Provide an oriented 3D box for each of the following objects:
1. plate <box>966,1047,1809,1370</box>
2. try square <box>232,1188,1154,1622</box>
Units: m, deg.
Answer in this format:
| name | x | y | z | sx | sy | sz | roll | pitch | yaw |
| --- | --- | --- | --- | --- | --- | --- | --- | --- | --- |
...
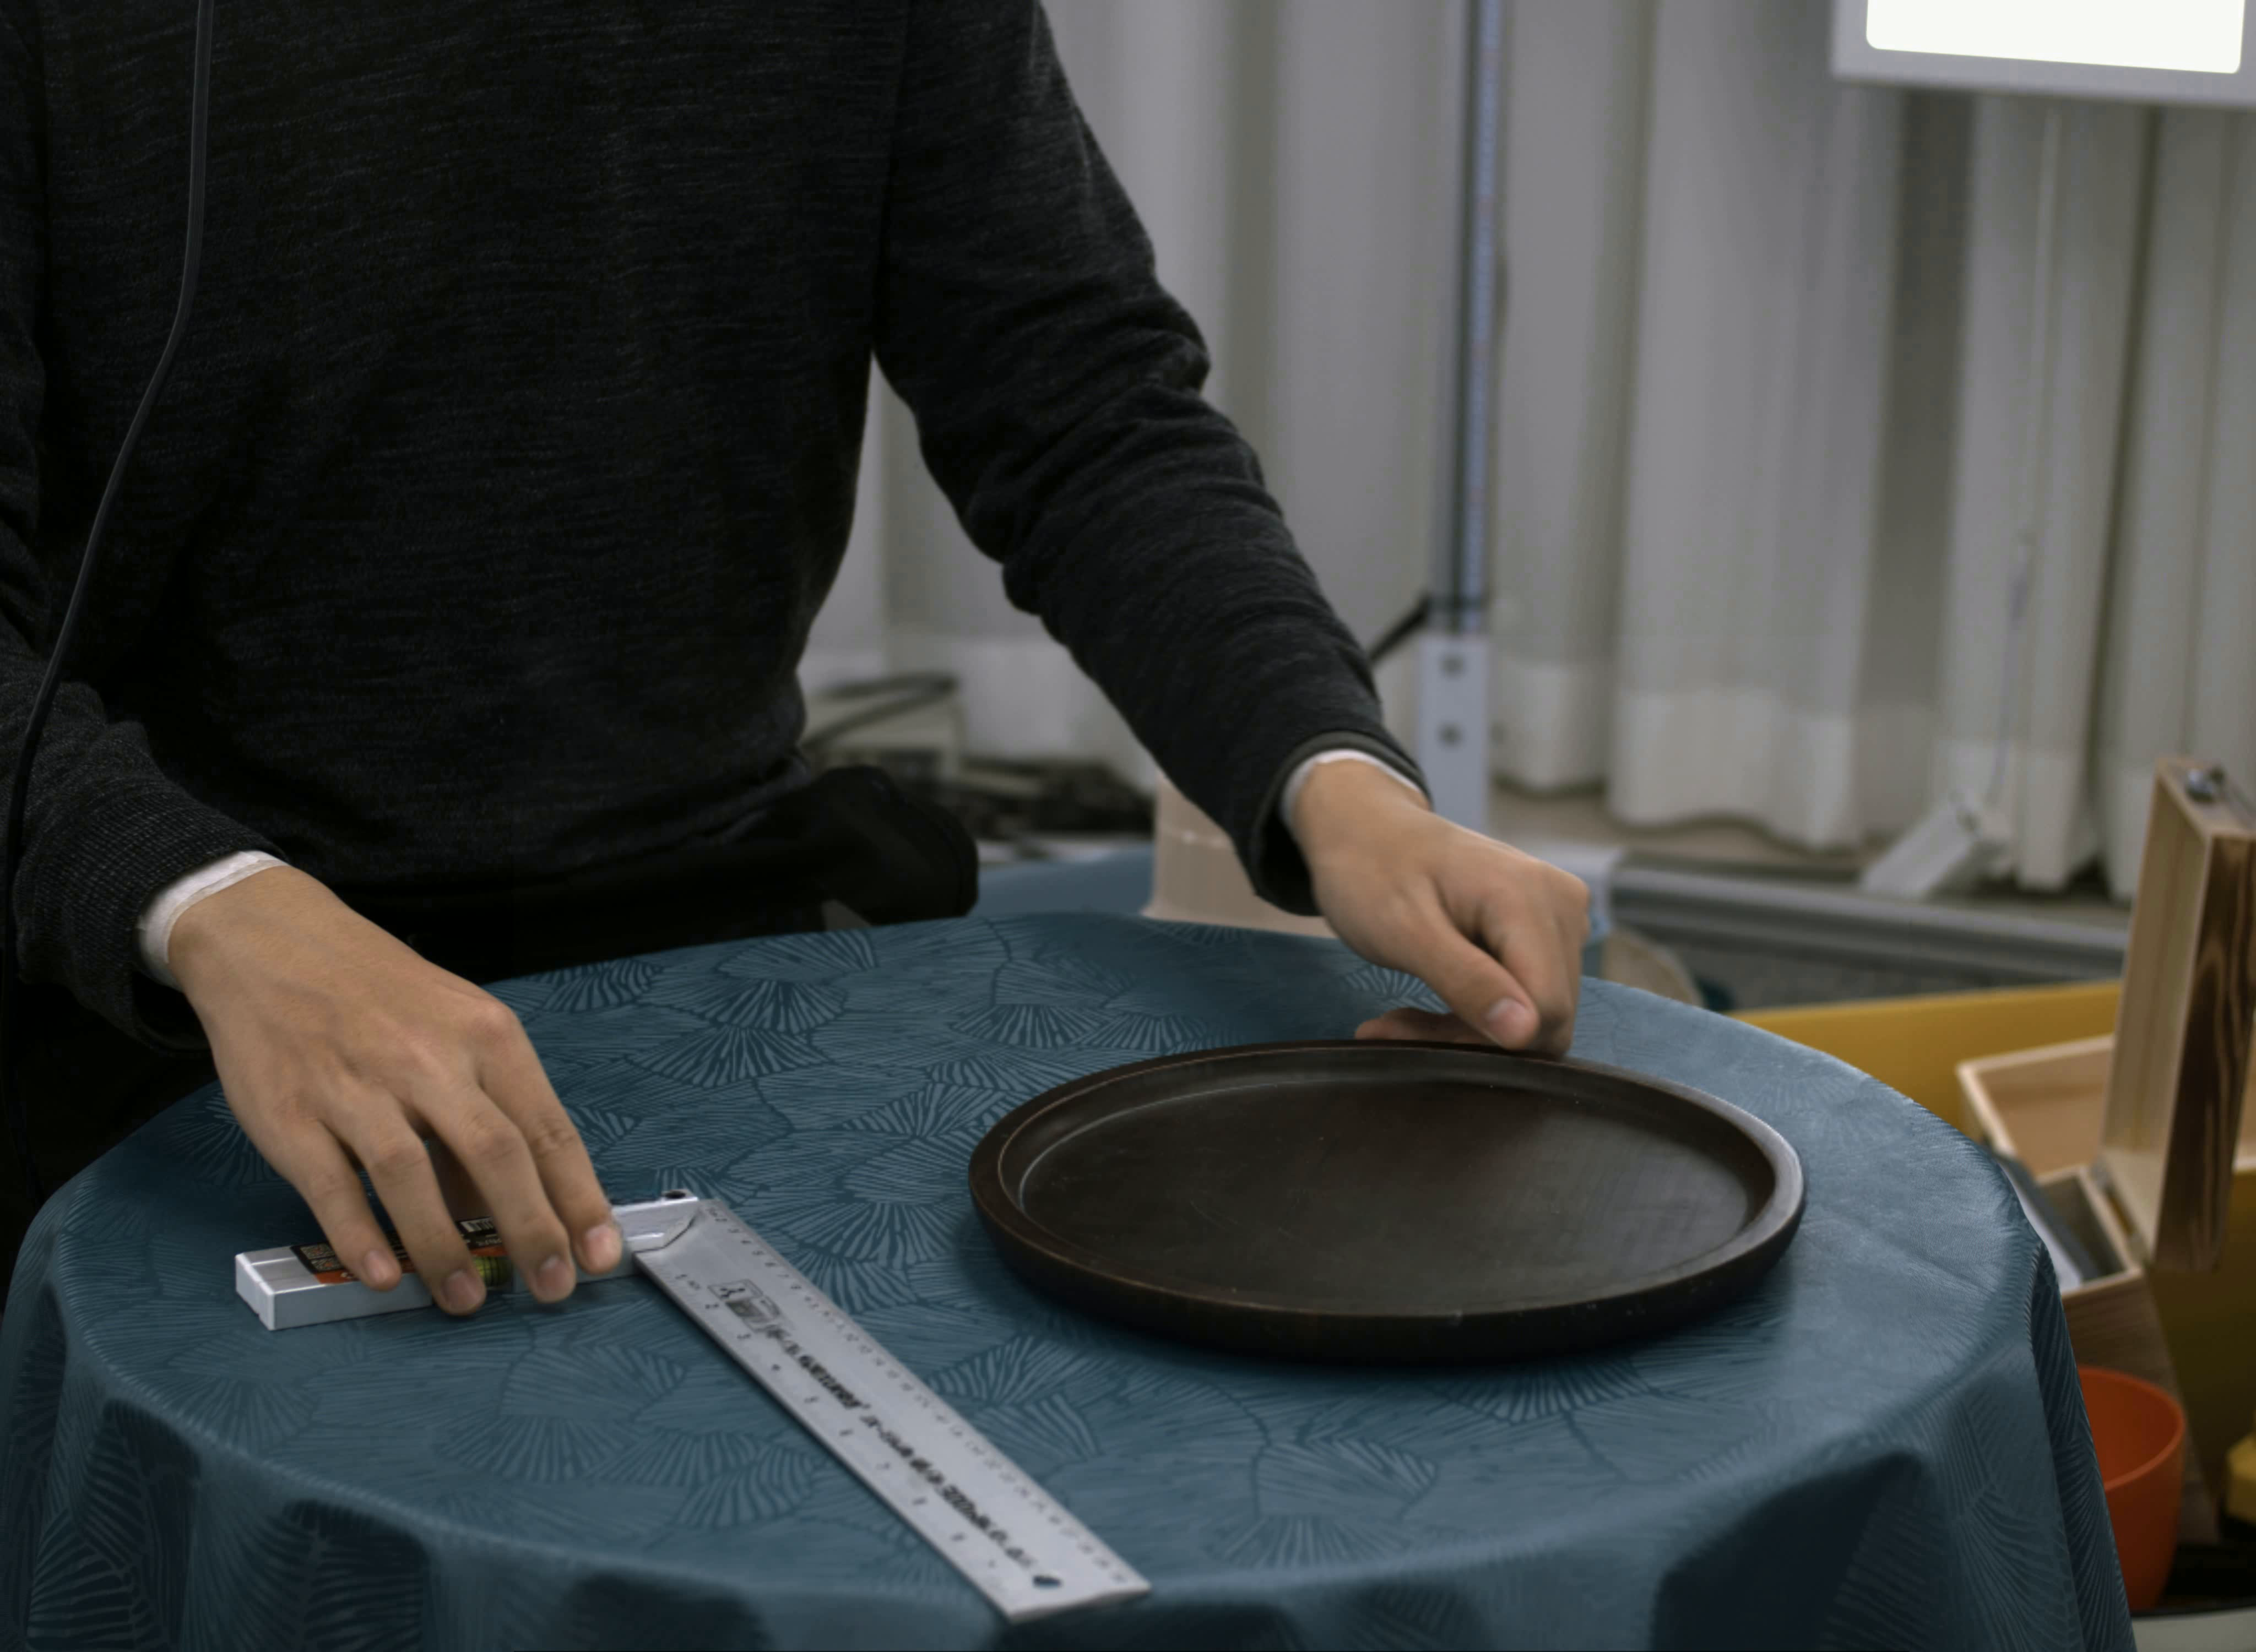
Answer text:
| name | x | y | z | sx | sy | sz | roll | pitch | yaw |
| --- | --- | --- | --- | --- | --- | --- | --- | --- | --- |
| plate | 0.078 | 0.111 | 1.582 | 0.254 | 0.029 | 0.253 | 1 | 16 | 0 |
| try square | -0.127 | 0.161 | 1.428 | 0.153 | 0.016 | 0.309 | -7 | 18 | -24 |
